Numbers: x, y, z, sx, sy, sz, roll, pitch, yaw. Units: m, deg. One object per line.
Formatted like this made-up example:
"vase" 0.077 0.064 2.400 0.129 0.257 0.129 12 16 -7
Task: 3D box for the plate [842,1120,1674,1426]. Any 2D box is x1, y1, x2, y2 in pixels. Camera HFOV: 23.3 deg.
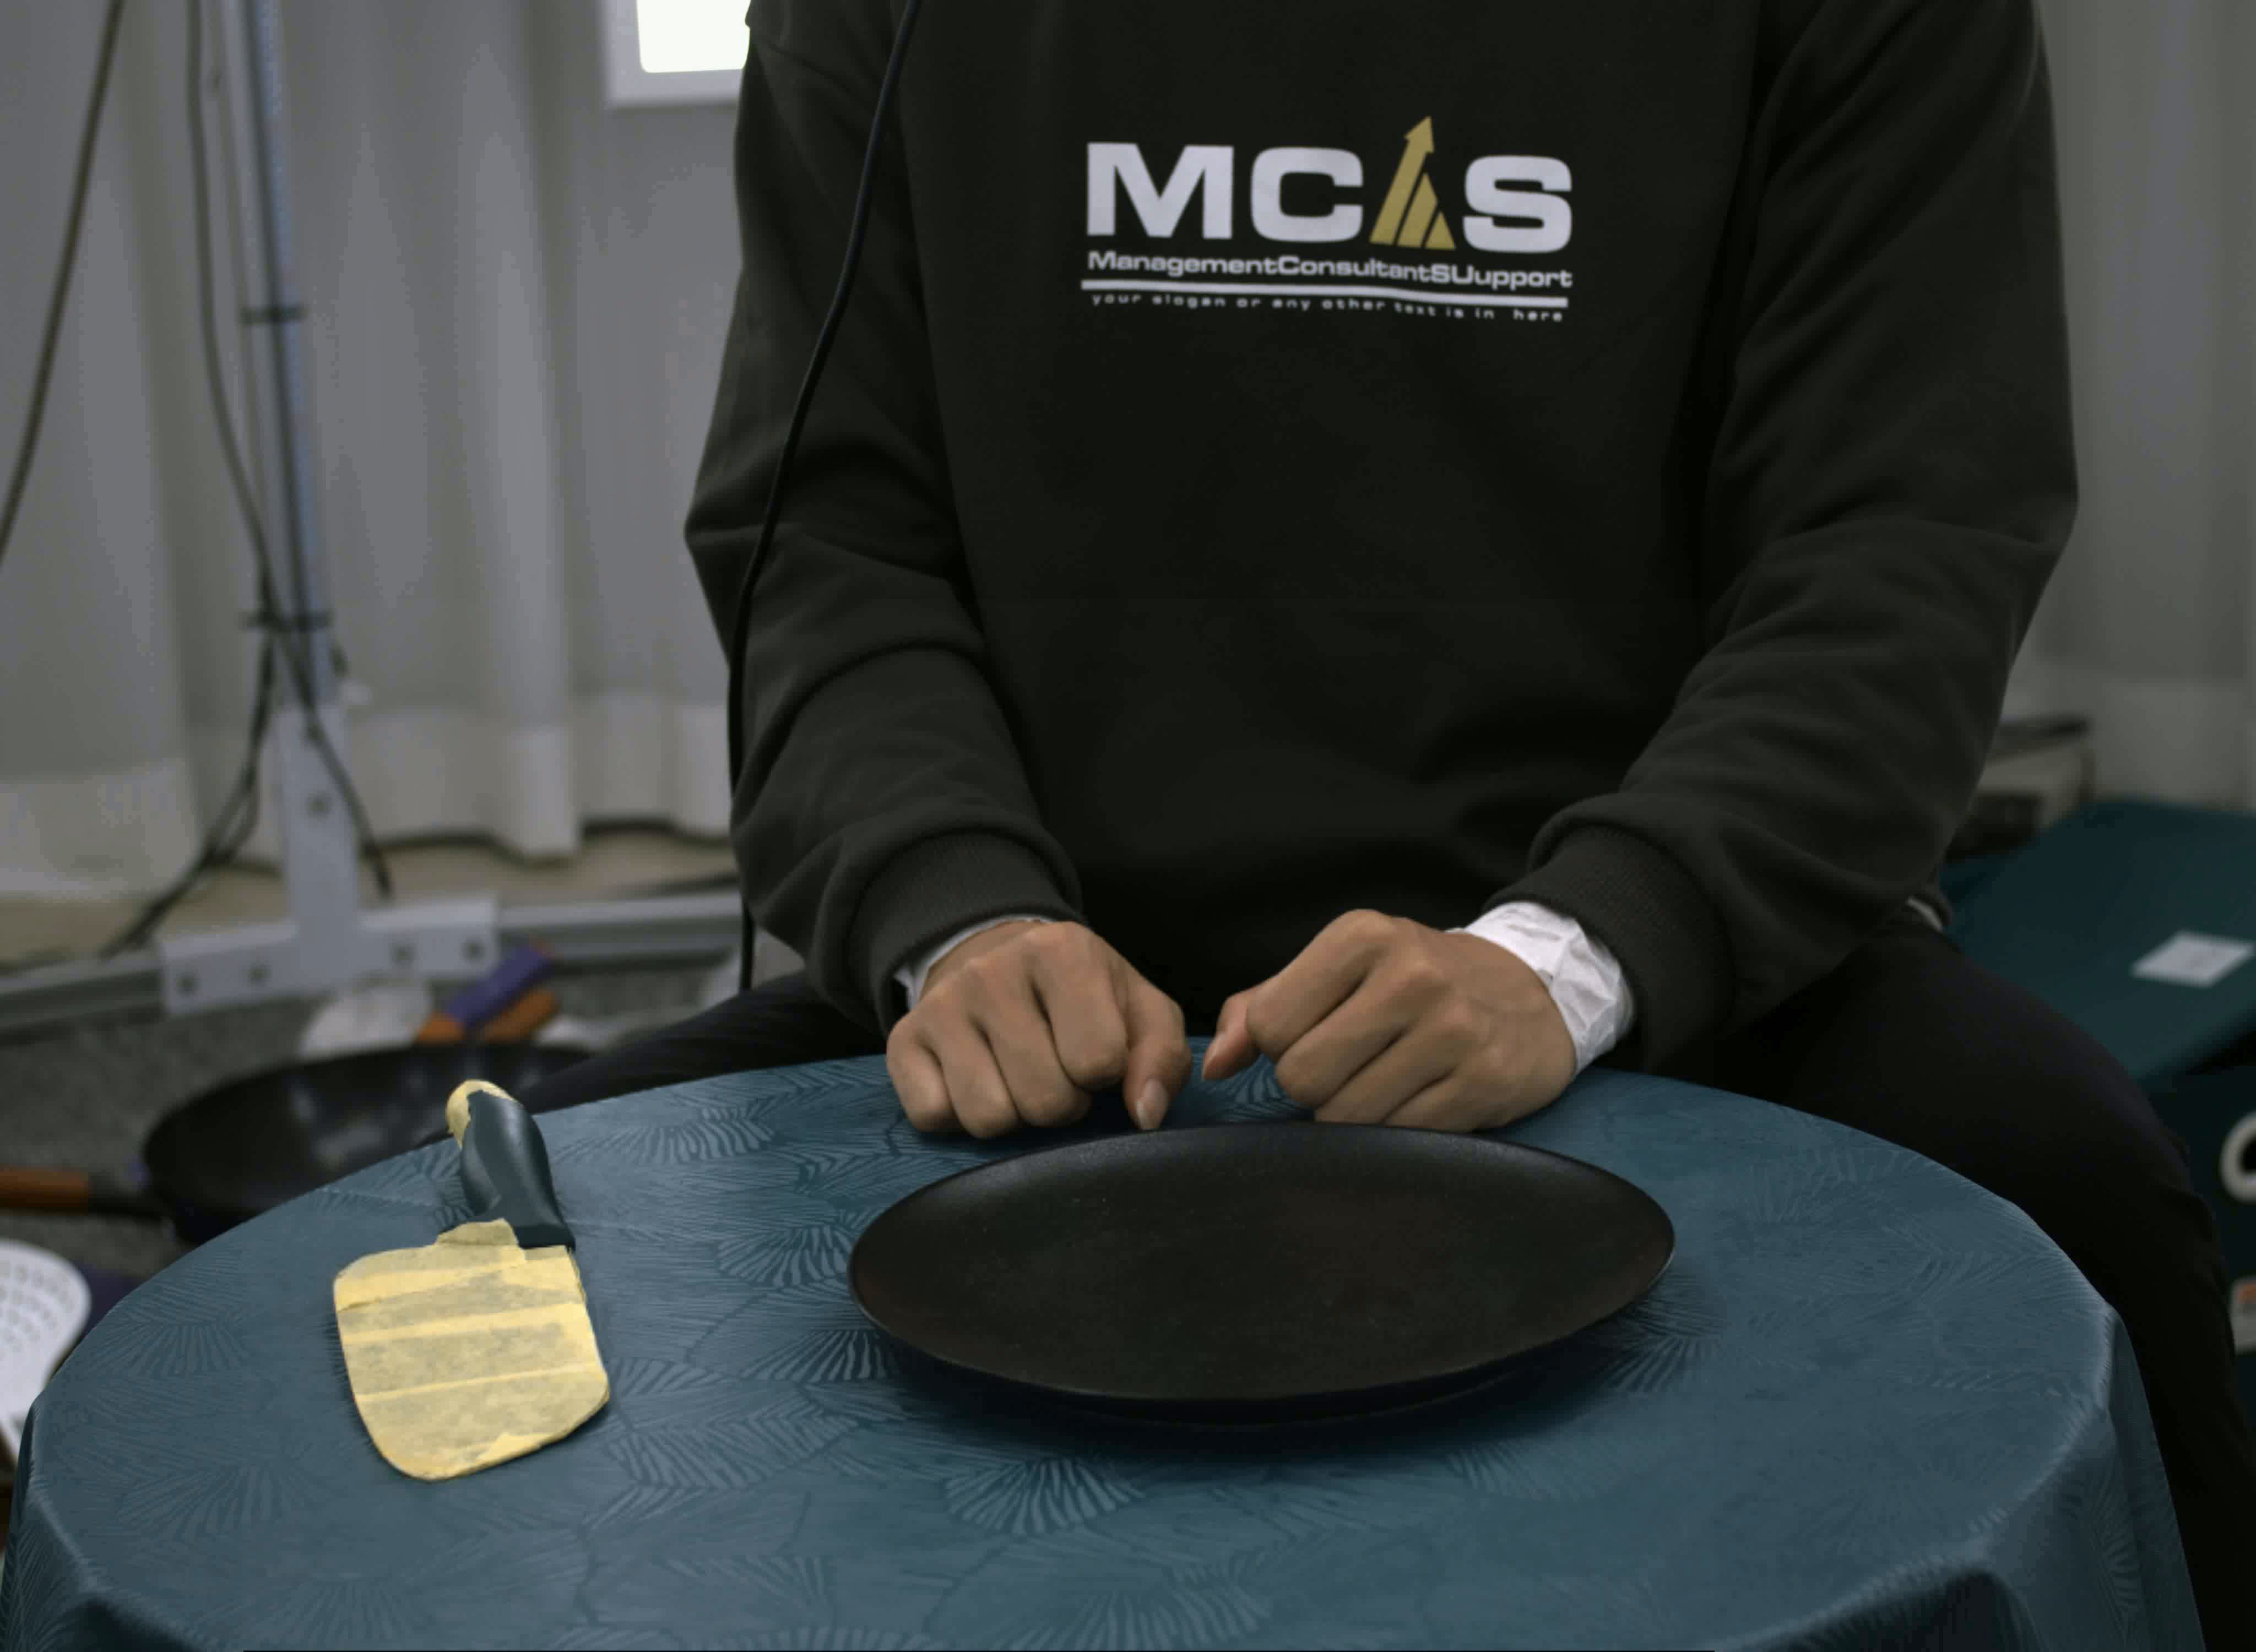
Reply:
"plate" 0.038 0.133 1.596 0.243 0.023 0.246 -3 15 0

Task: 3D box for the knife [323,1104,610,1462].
"knife" -0.201 0.137 1.643 0.080 0.027 0.292 -3 15 -8
